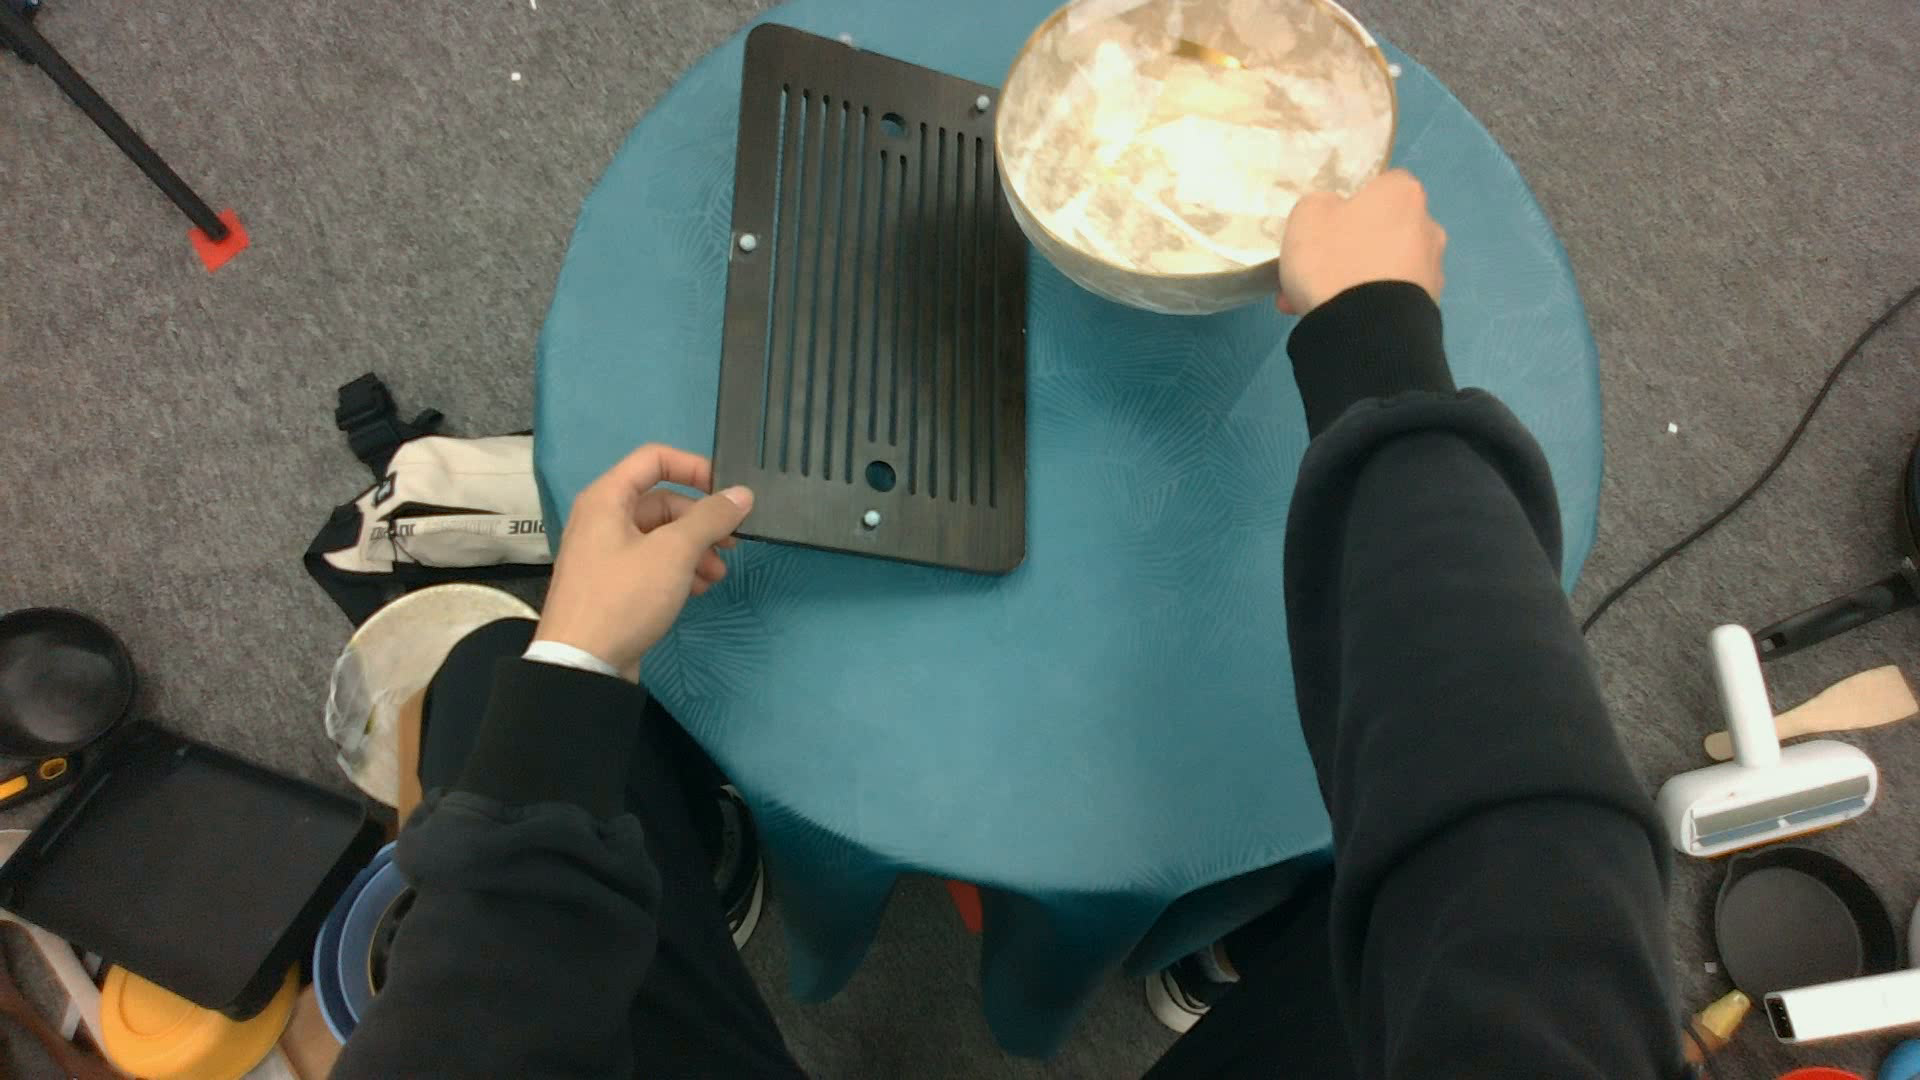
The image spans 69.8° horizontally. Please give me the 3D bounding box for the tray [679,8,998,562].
[{"bbox_3d":[-0.059,-0.141,0.750,0.170,0.018,0.307,9,69,-22],"label":"tray"}]

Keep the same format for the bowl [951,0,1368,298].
[{"bbox_3d":[0.099,-0.203,0.730,0.214,0.094,0.215,-1,65,2],"label":"bowl"}]
